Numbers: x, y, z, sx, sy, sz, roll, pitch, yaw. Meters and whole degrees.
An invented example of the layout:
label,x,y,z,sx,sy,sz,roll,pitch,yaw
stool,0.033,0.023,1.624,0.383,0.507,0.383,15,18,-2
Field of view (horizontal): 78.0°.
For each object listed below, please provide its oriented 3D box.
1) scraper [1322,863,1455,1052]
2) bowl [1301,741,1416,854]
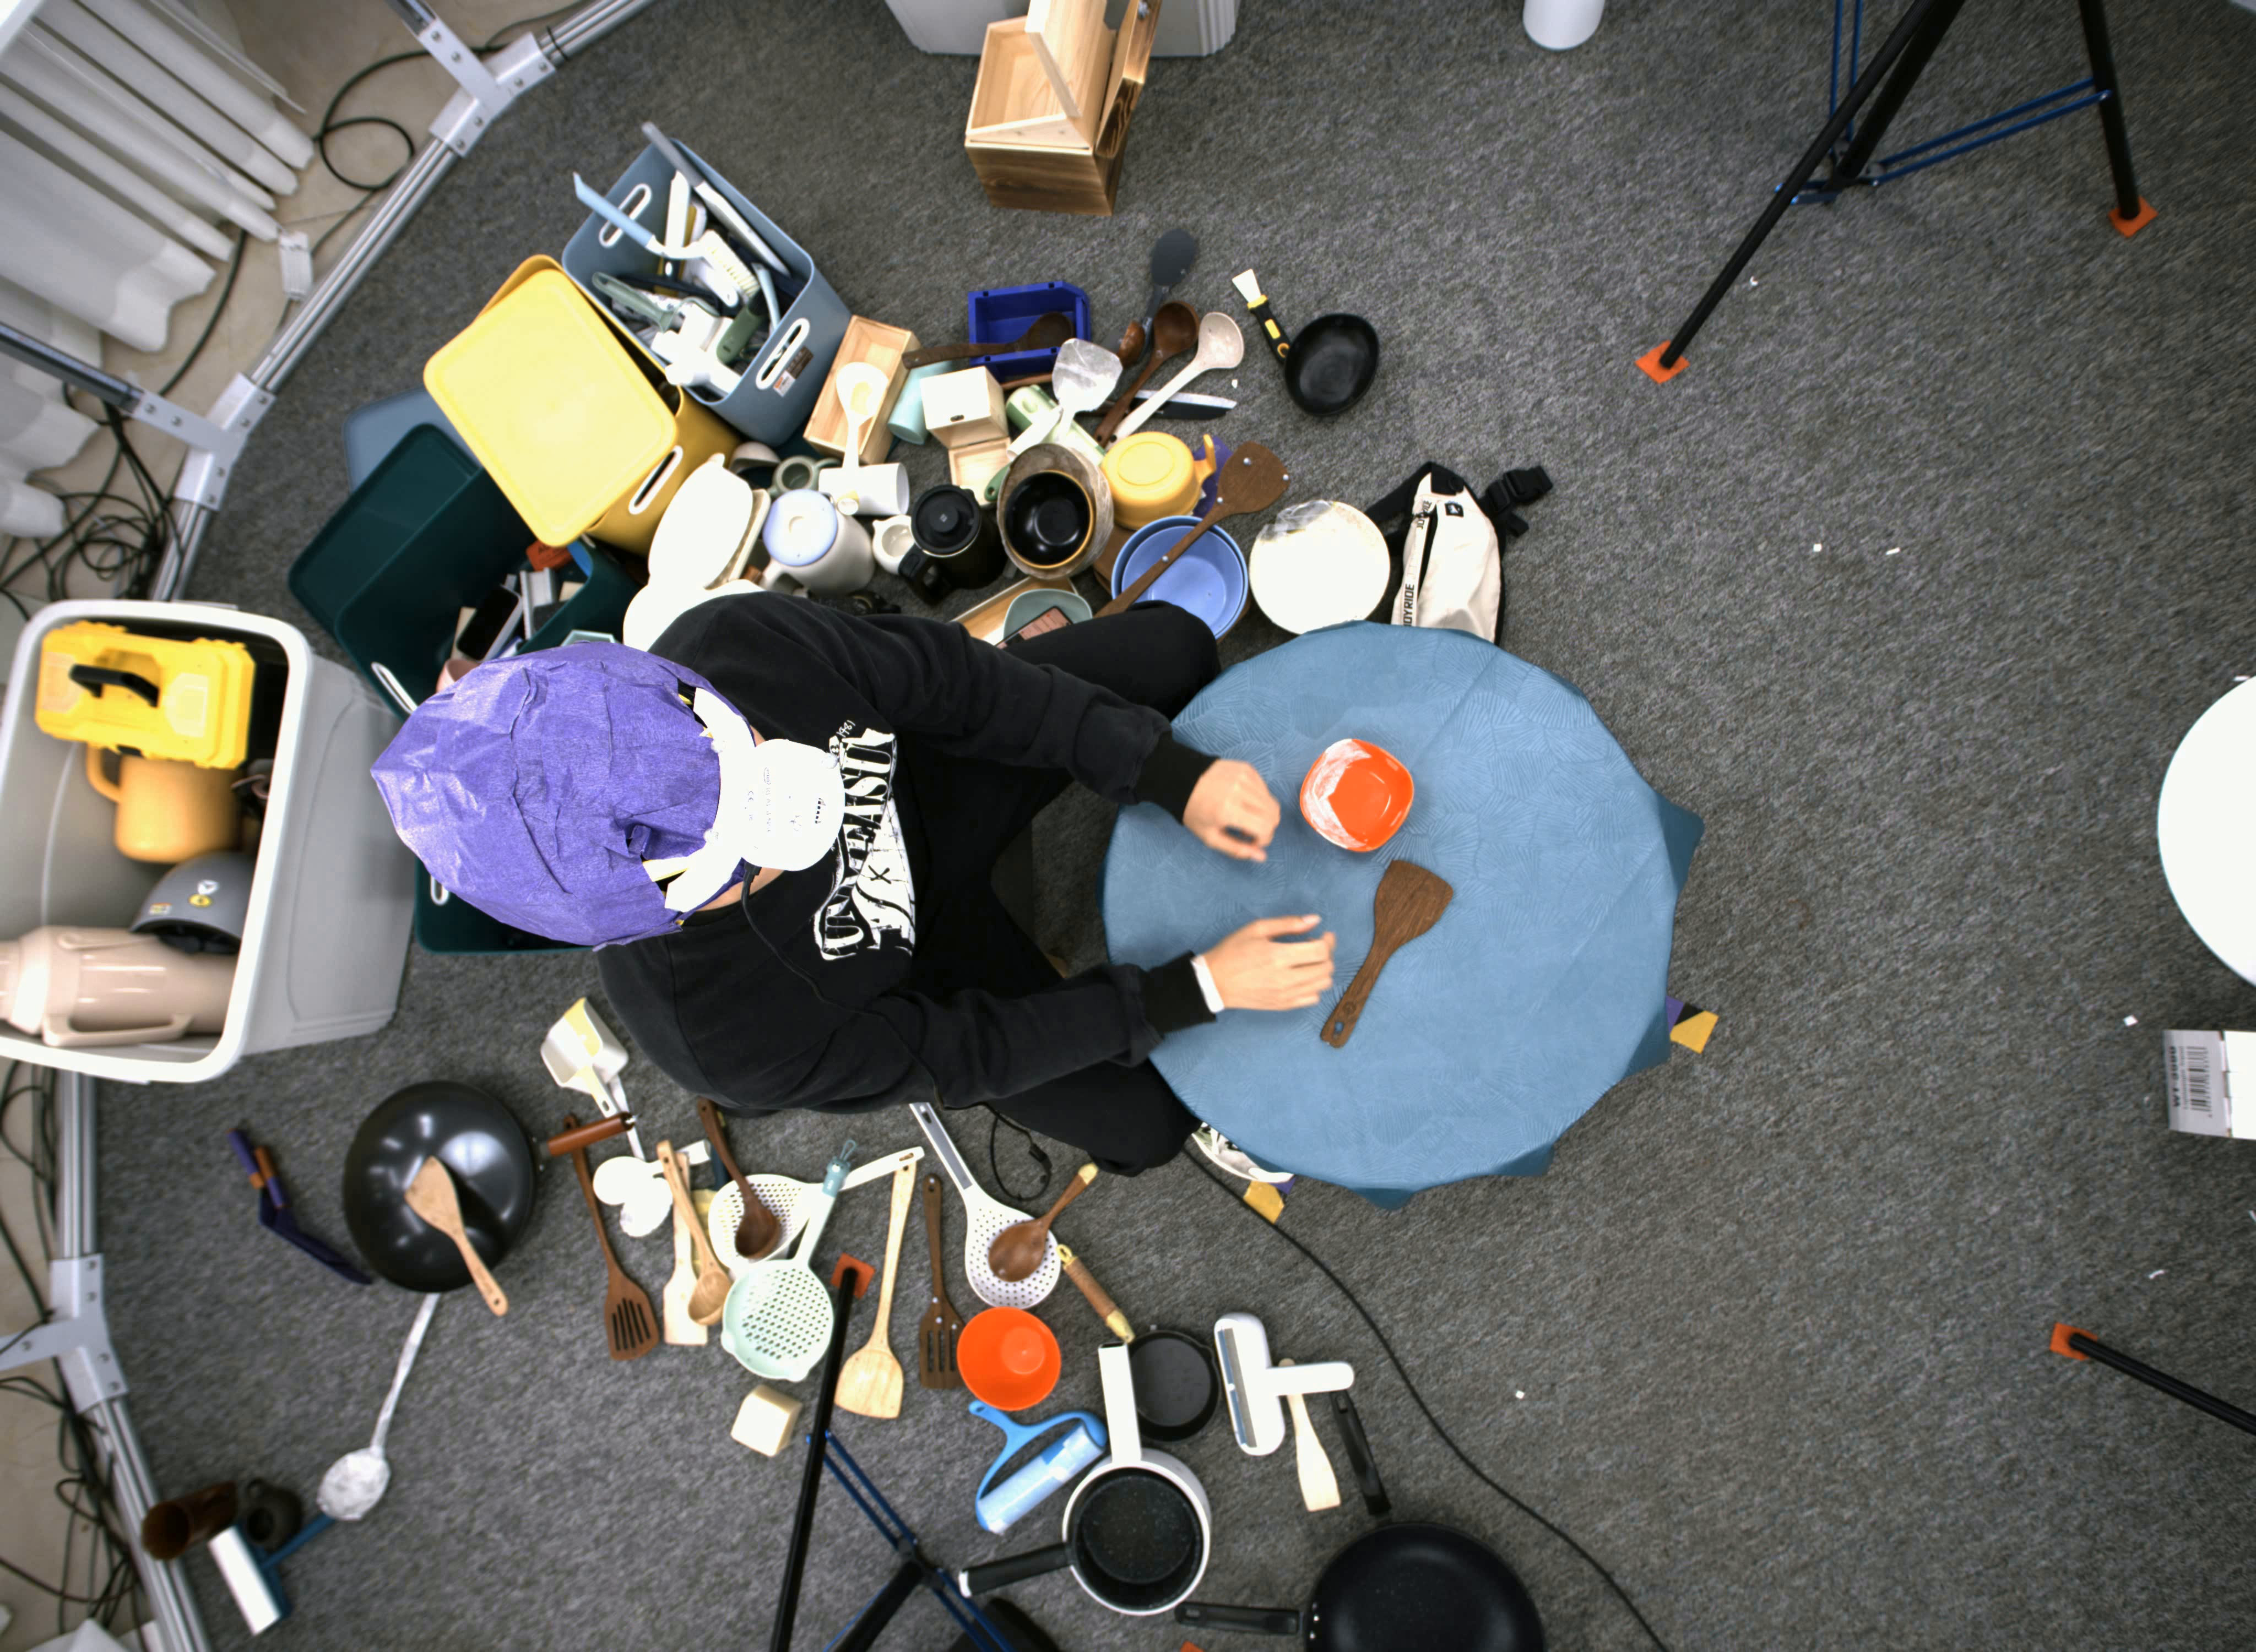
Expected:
label,x,y,z,sx,sy,sz,roll,pitch,yaw
scraper,0.265,0.141,1.457,0.075,0.011,0.211,30,92,11
bowl,0.241,-0.028,1.451,0.119,0.051,0.118,-1,86,8
